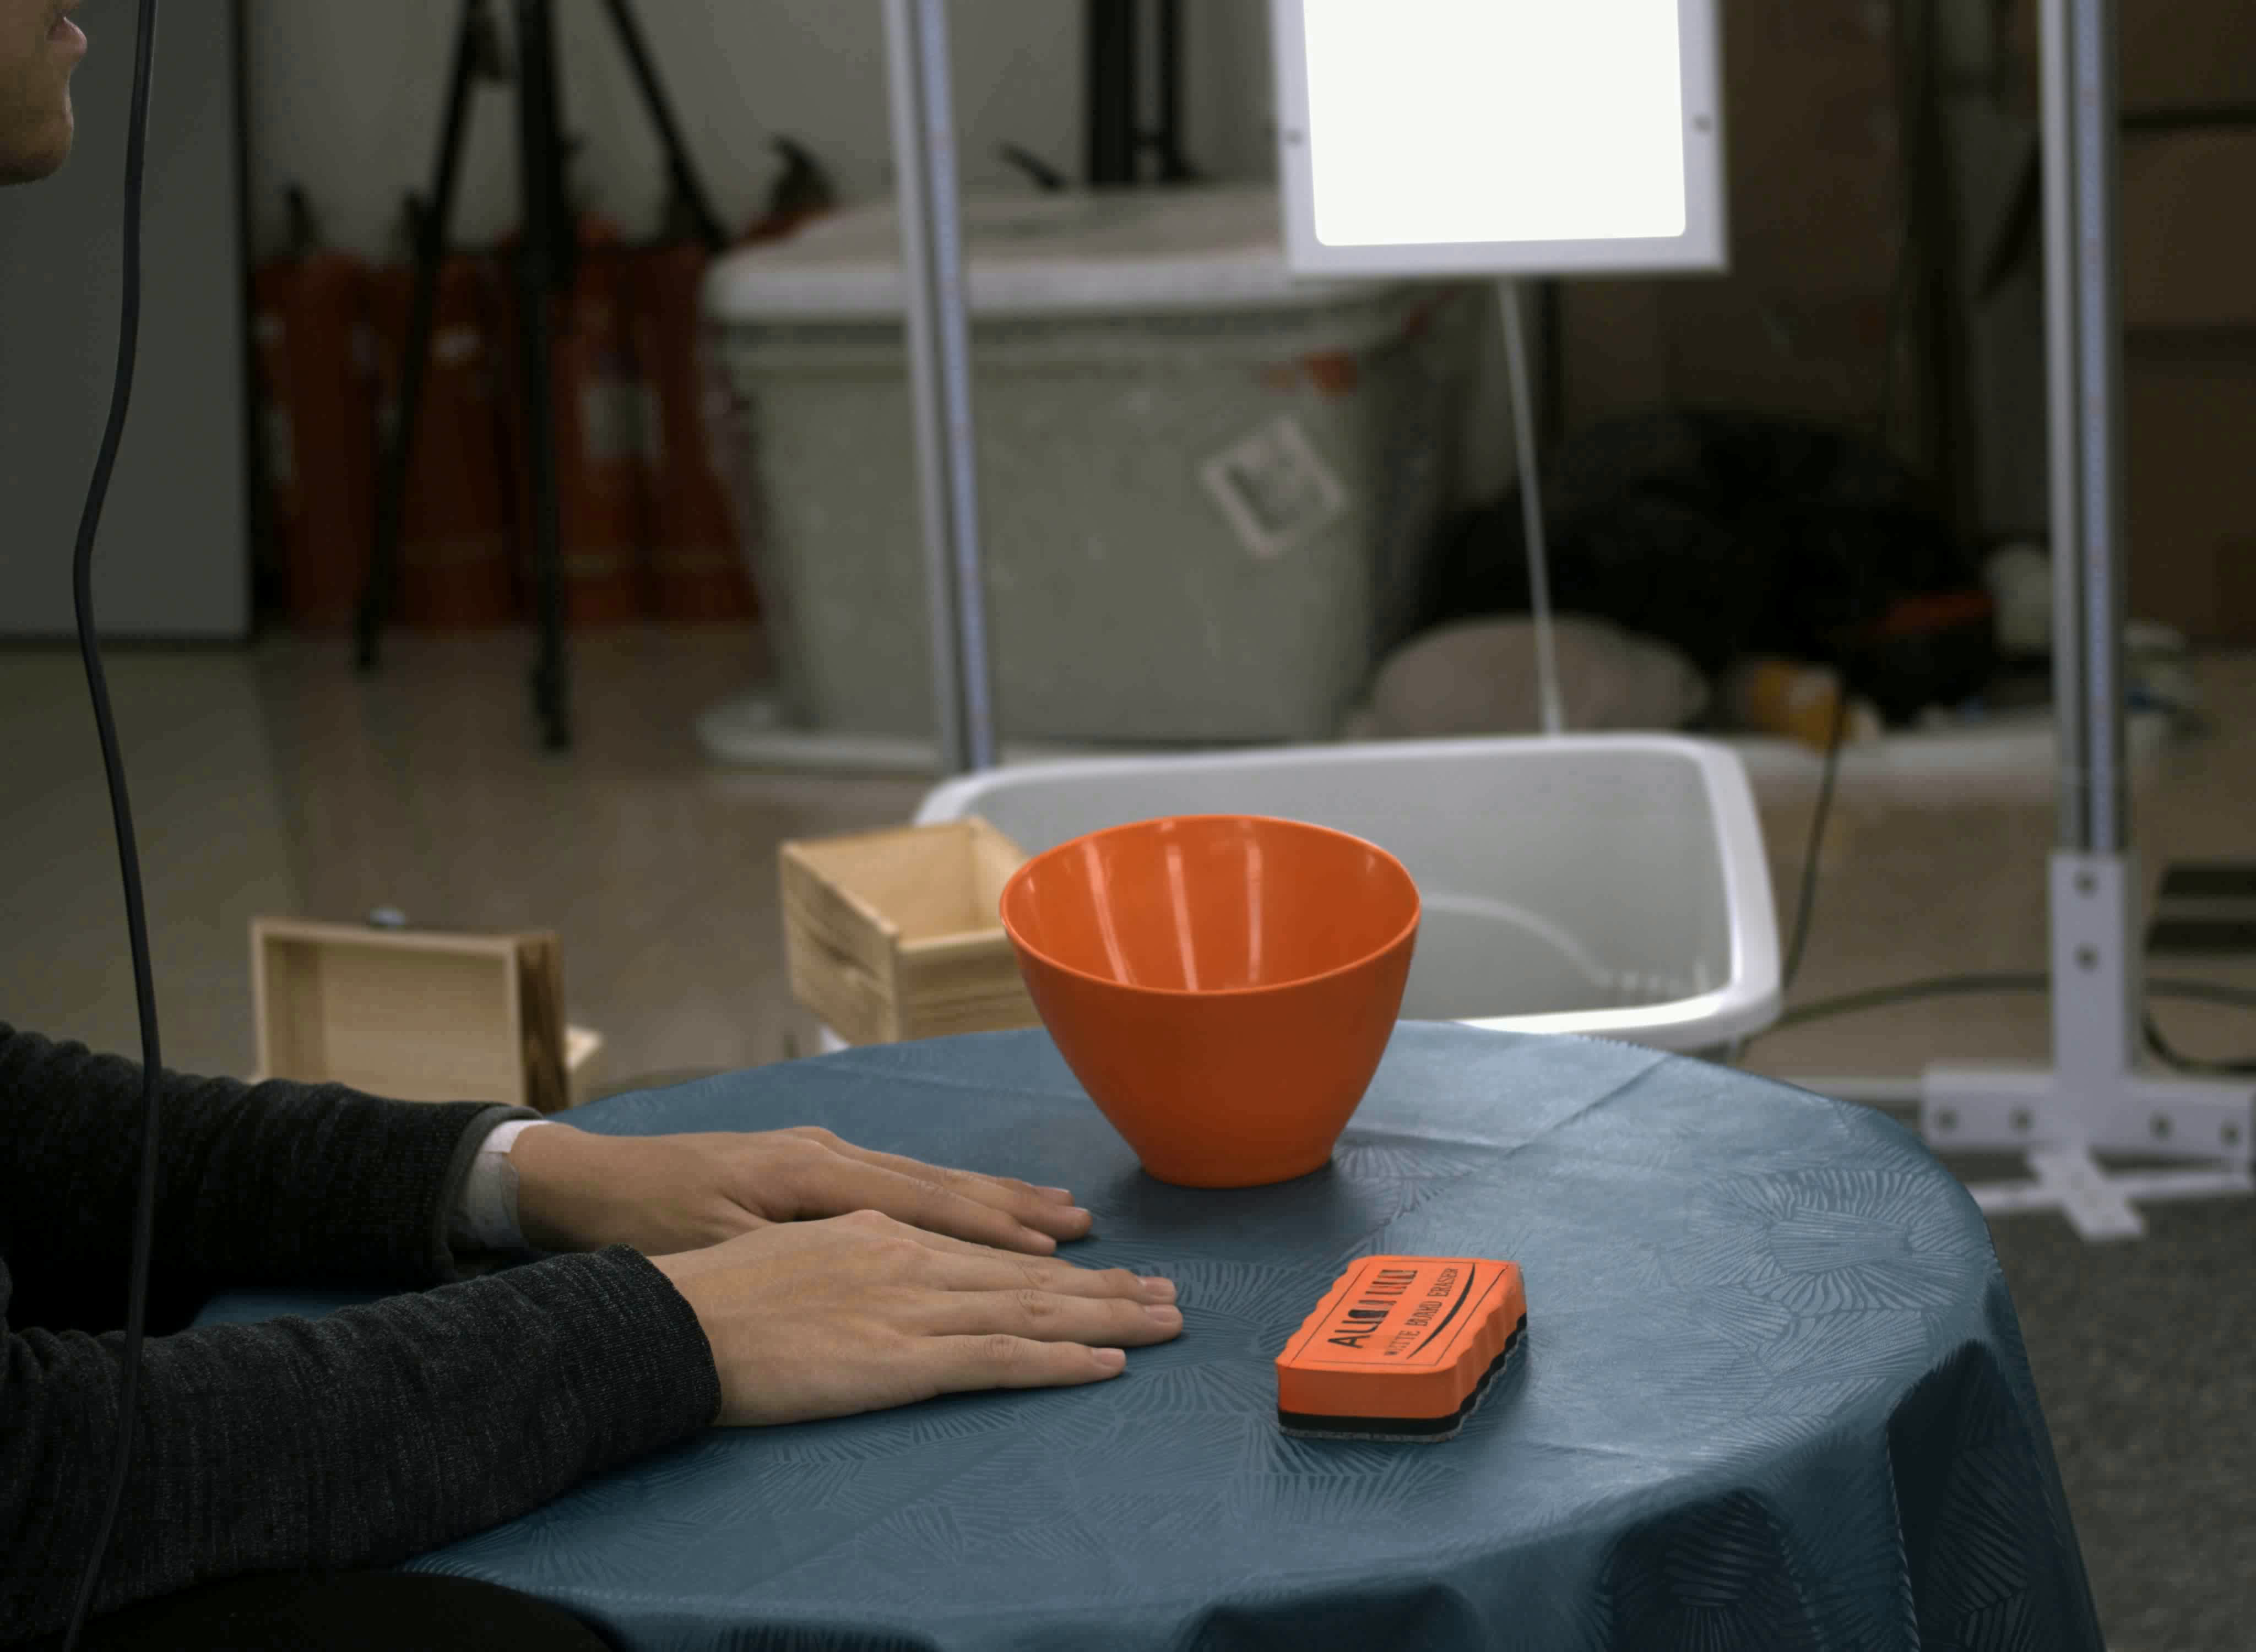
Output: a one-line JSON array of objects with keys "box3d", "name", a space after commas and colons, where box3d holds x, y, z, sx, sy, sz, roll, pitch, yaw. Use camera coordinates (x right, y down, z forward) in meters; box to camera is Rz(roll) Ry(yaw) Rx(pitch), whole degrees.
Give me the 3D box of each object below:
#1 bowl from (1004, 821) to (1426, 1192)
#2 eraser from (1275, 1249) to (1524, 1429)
[{"box3d": [0.033, 0.066, 1.920, 0.147, 0.105, 0.148, -4, 14, 0], "name": "bowl"}, {"box3d": [0.085, 0.156, 1.684, 0.059, 0.023, 0.106, 1, 13, 17], "name": "eraser"}]
